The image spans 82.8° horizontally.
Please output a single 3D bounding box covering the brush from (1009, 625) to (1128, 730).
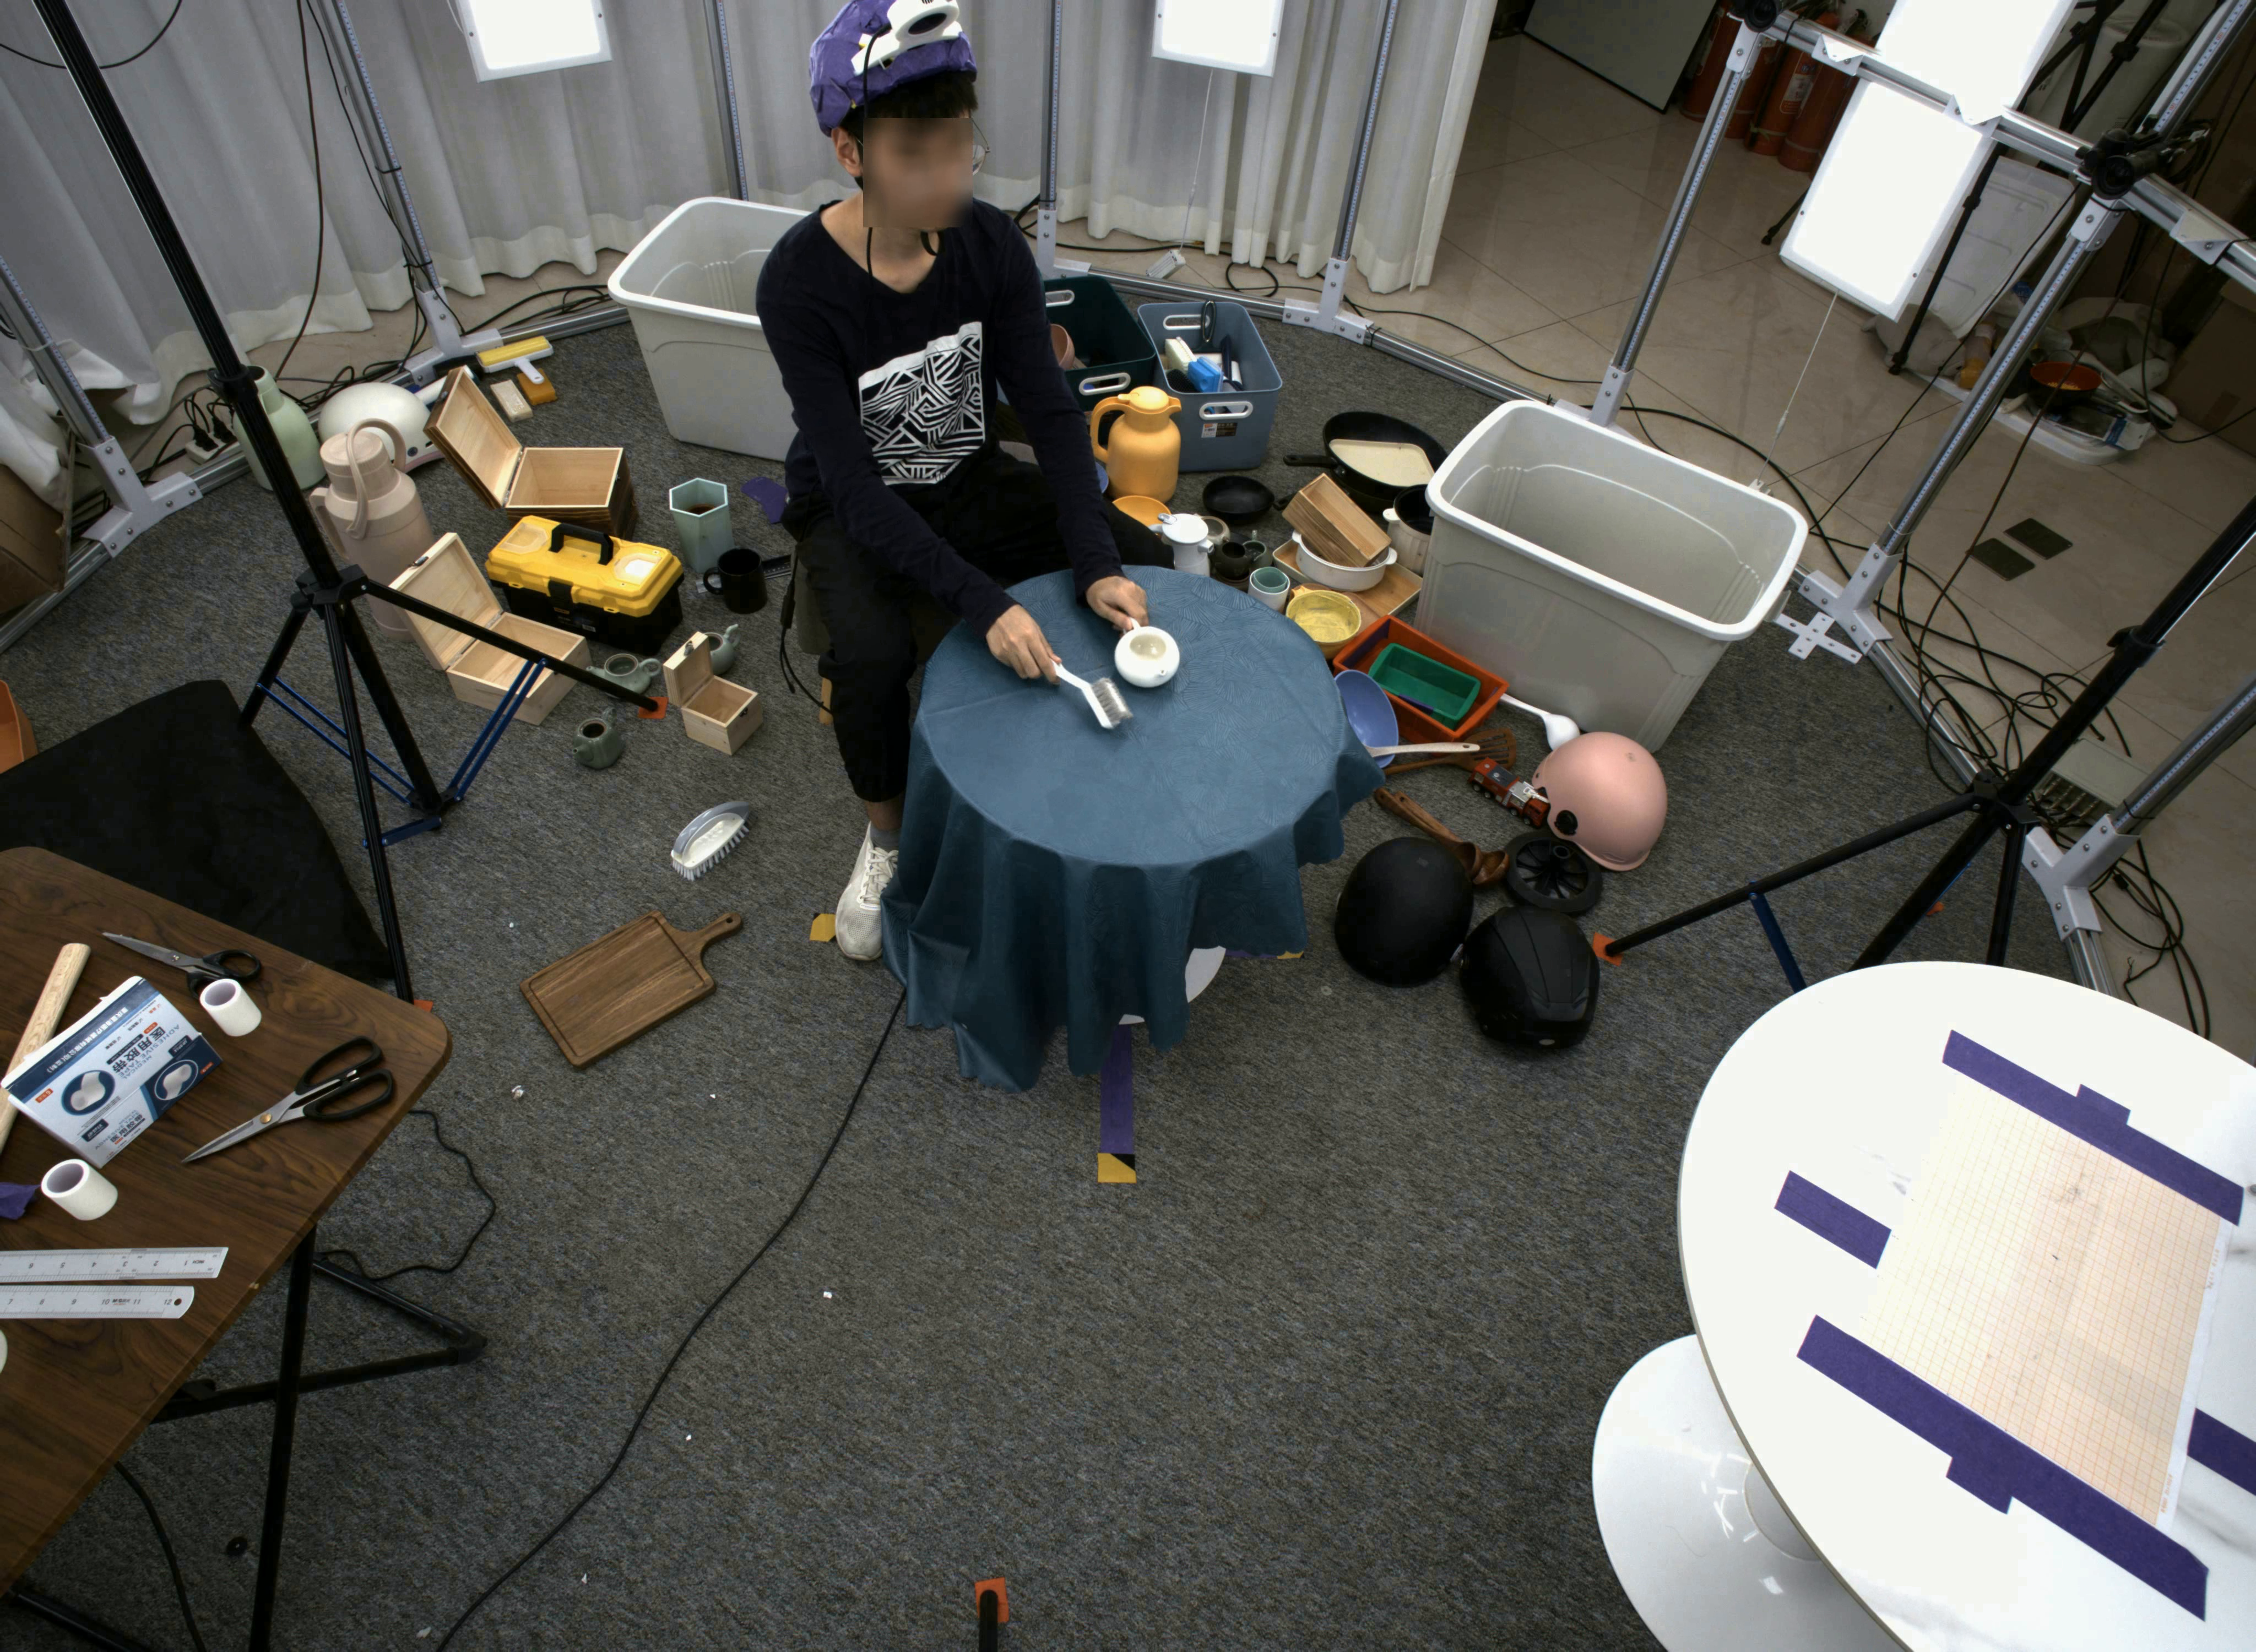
[{"bbox_3d":[-0.085,-0.224,1.811,0.034,0.049,0.248,-6,45,-49],"label":"brush"}]

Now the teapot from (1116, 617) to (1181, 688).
[{"bbox_3d":[0.025,-0.249,1.846,0.093,0.055,0.130,-24,60,-13],"label":"teapot"}]
